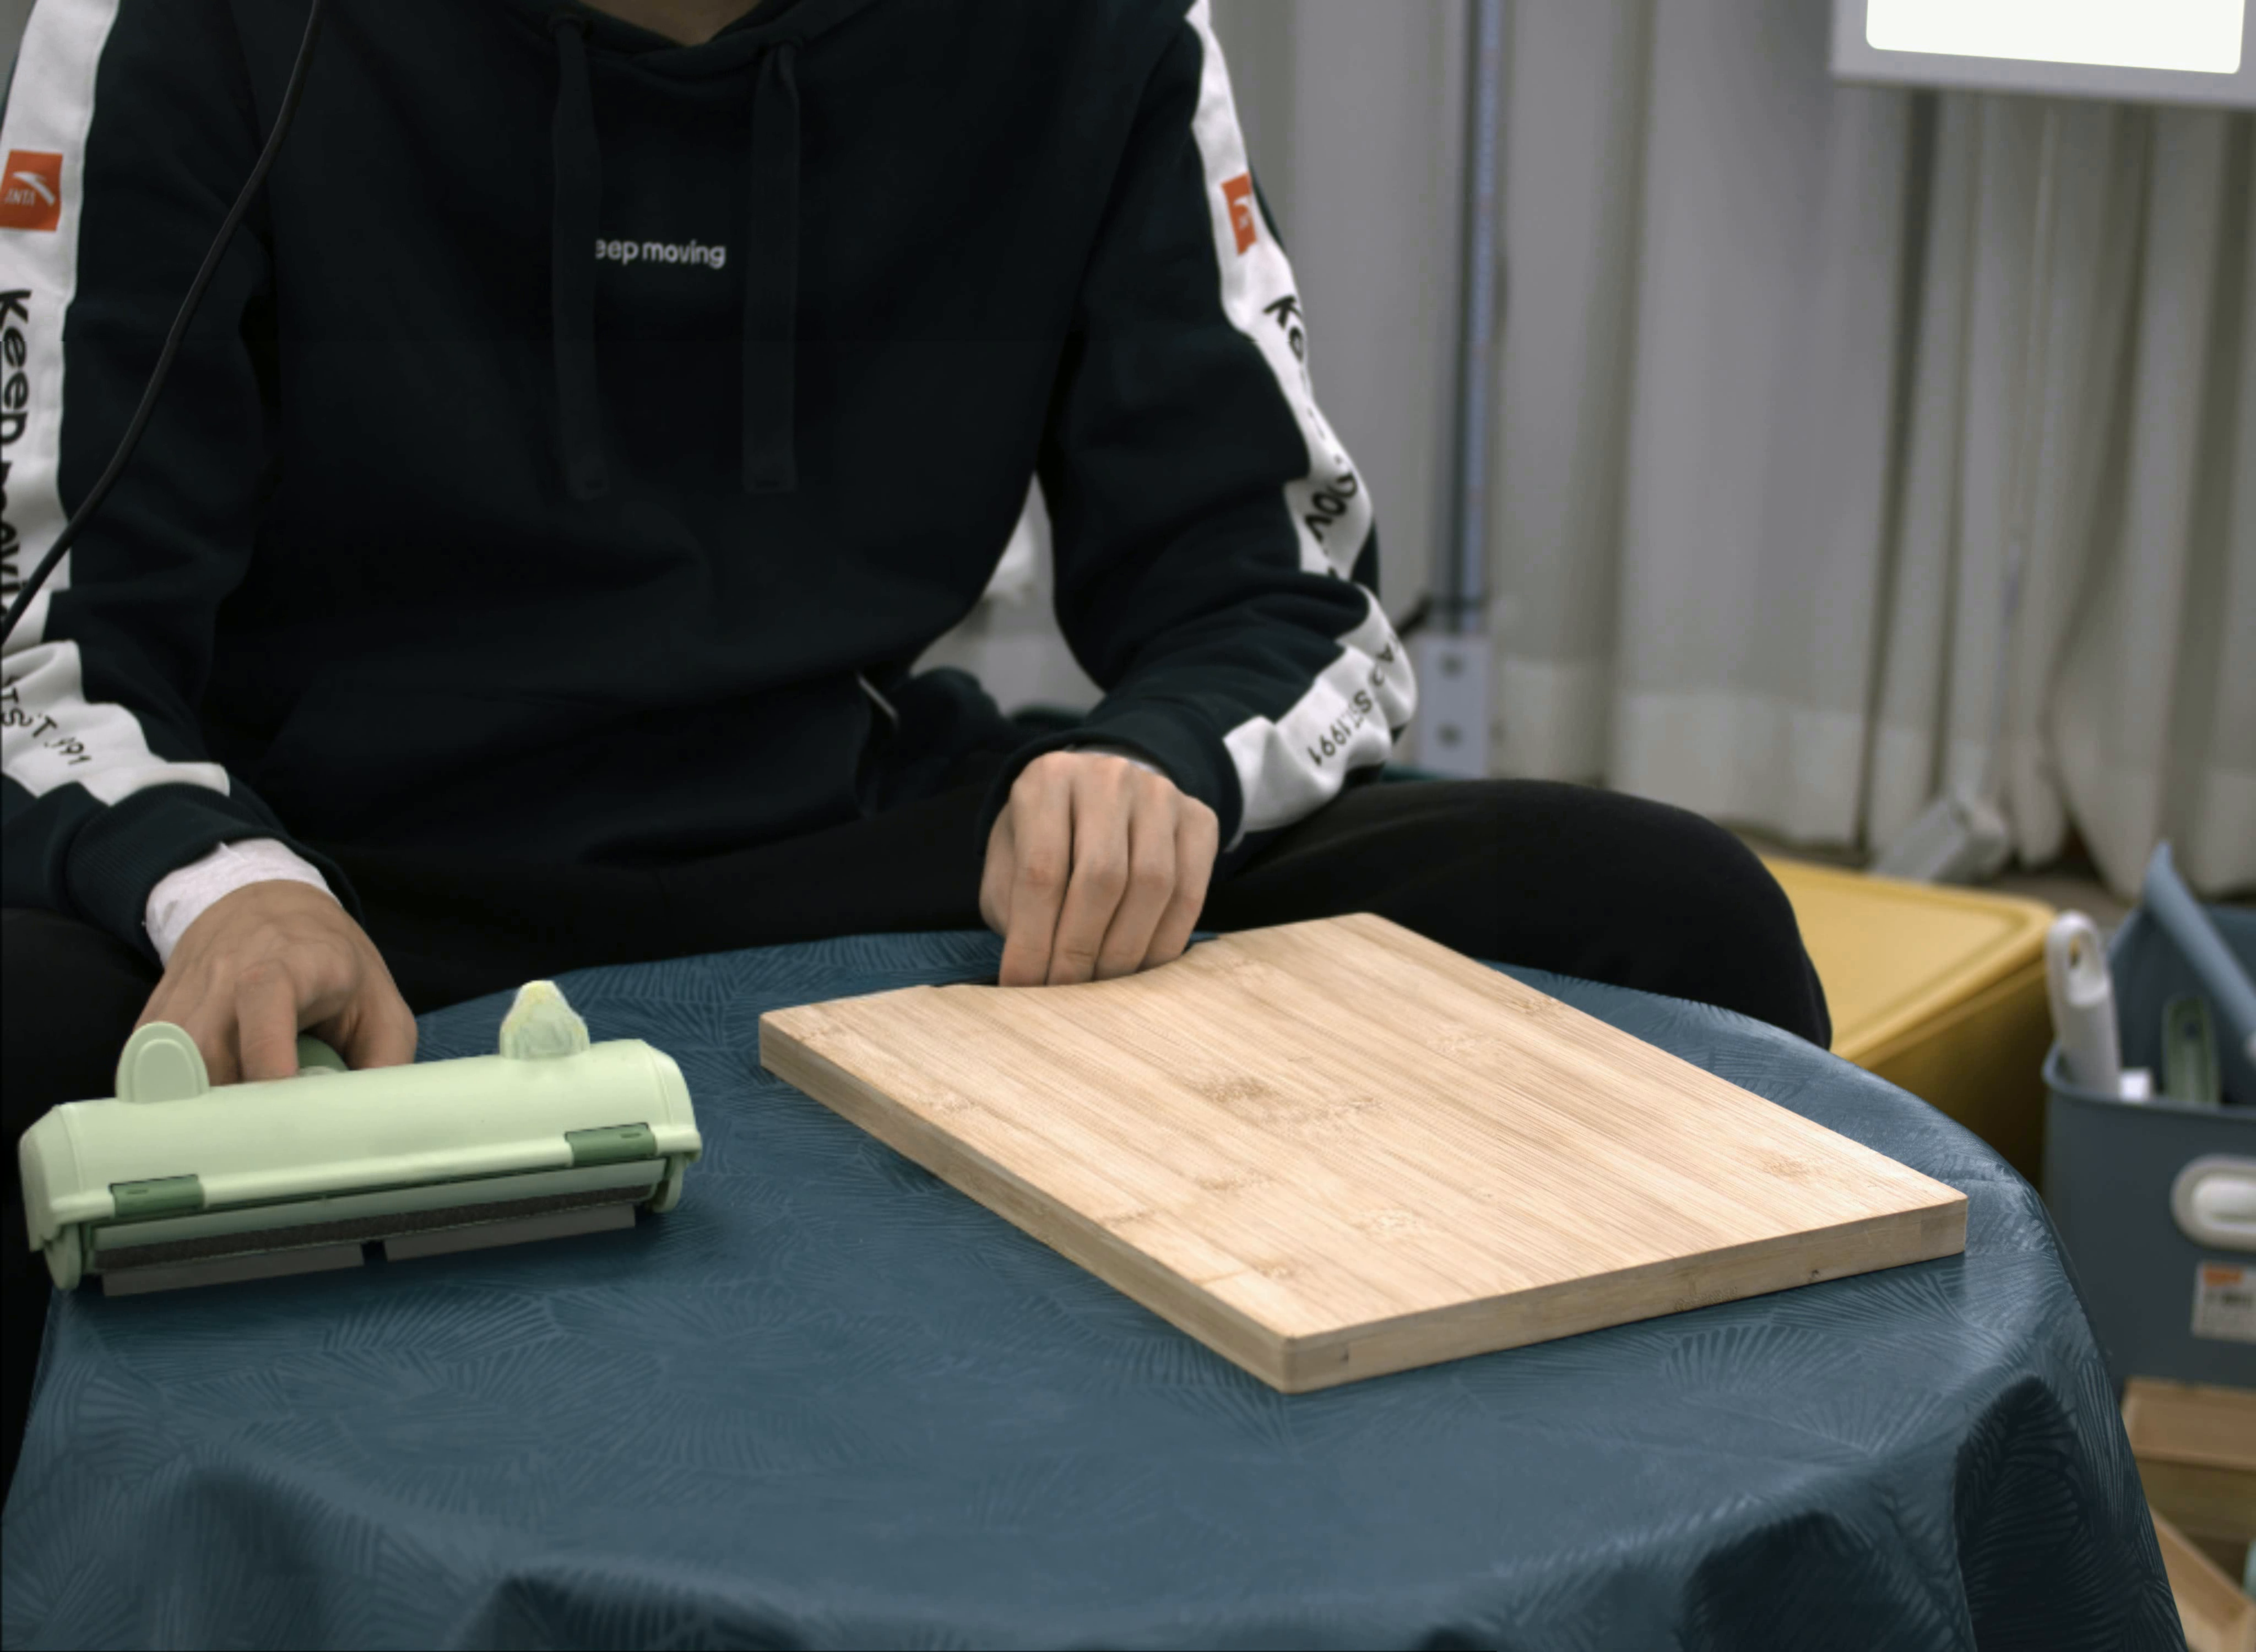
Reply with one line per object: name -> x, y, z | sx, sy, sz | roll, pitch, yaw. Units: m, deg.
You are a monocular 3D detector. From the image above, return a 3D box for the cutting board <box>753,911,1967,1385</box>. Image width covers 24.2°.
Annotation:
cutting board -> 0.063, 0.094, 1.657 | 0.252, 0.024, 0.344 | -8, 18, -30

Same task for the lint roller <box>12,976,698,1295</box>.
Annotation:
lint roller -> -0.248, 0.075, 1.601 | 0.199, 0.083, 0.181 | -6, 22, -21
